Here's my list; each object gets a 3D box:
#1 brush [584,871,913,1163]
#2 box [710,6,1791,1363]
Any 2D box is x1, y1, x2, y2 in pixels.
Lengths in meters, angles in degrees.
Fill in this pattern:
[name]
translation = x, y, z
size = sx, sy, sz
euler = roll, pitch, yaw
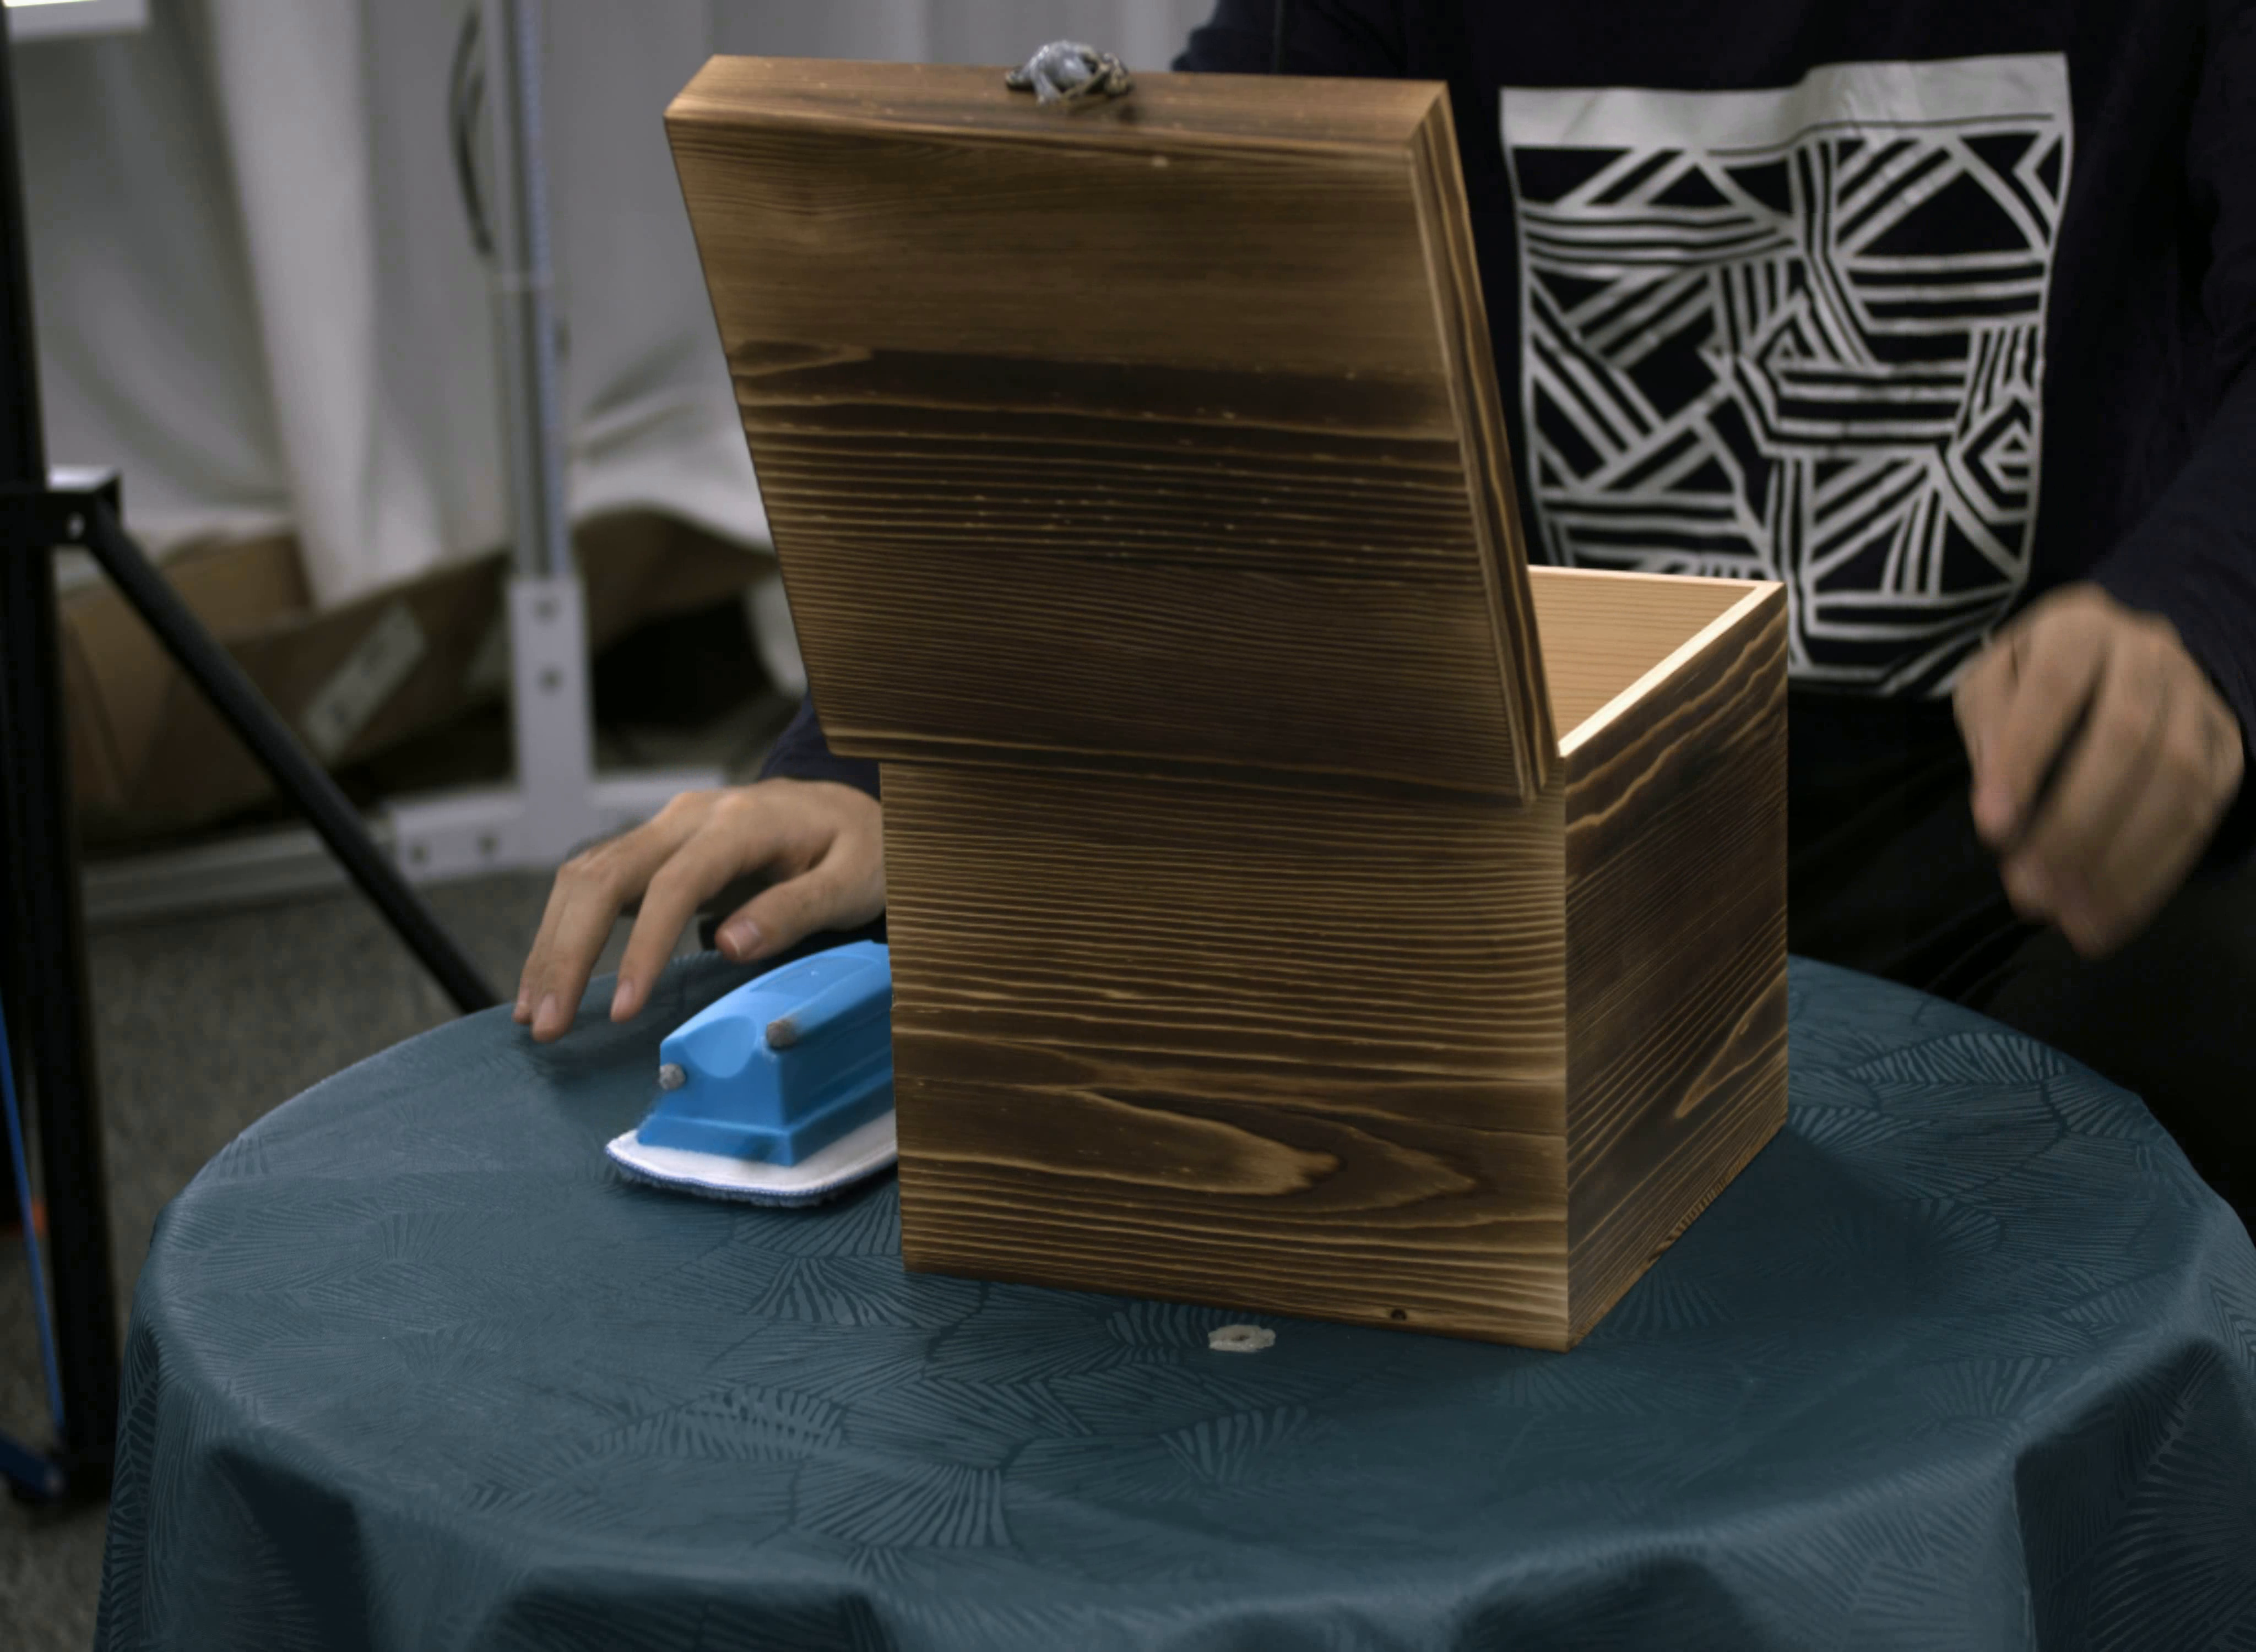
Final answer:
[brush]
translation = -0.099, 0.054, 1.625
size = 0.085, 0.056, 0.142
euler = 9, 24, 28
[box]
translation = 0.044, -0.052, 1.458
size = 0.212, 0.375, 0.317
euler = 5, 17, 23
